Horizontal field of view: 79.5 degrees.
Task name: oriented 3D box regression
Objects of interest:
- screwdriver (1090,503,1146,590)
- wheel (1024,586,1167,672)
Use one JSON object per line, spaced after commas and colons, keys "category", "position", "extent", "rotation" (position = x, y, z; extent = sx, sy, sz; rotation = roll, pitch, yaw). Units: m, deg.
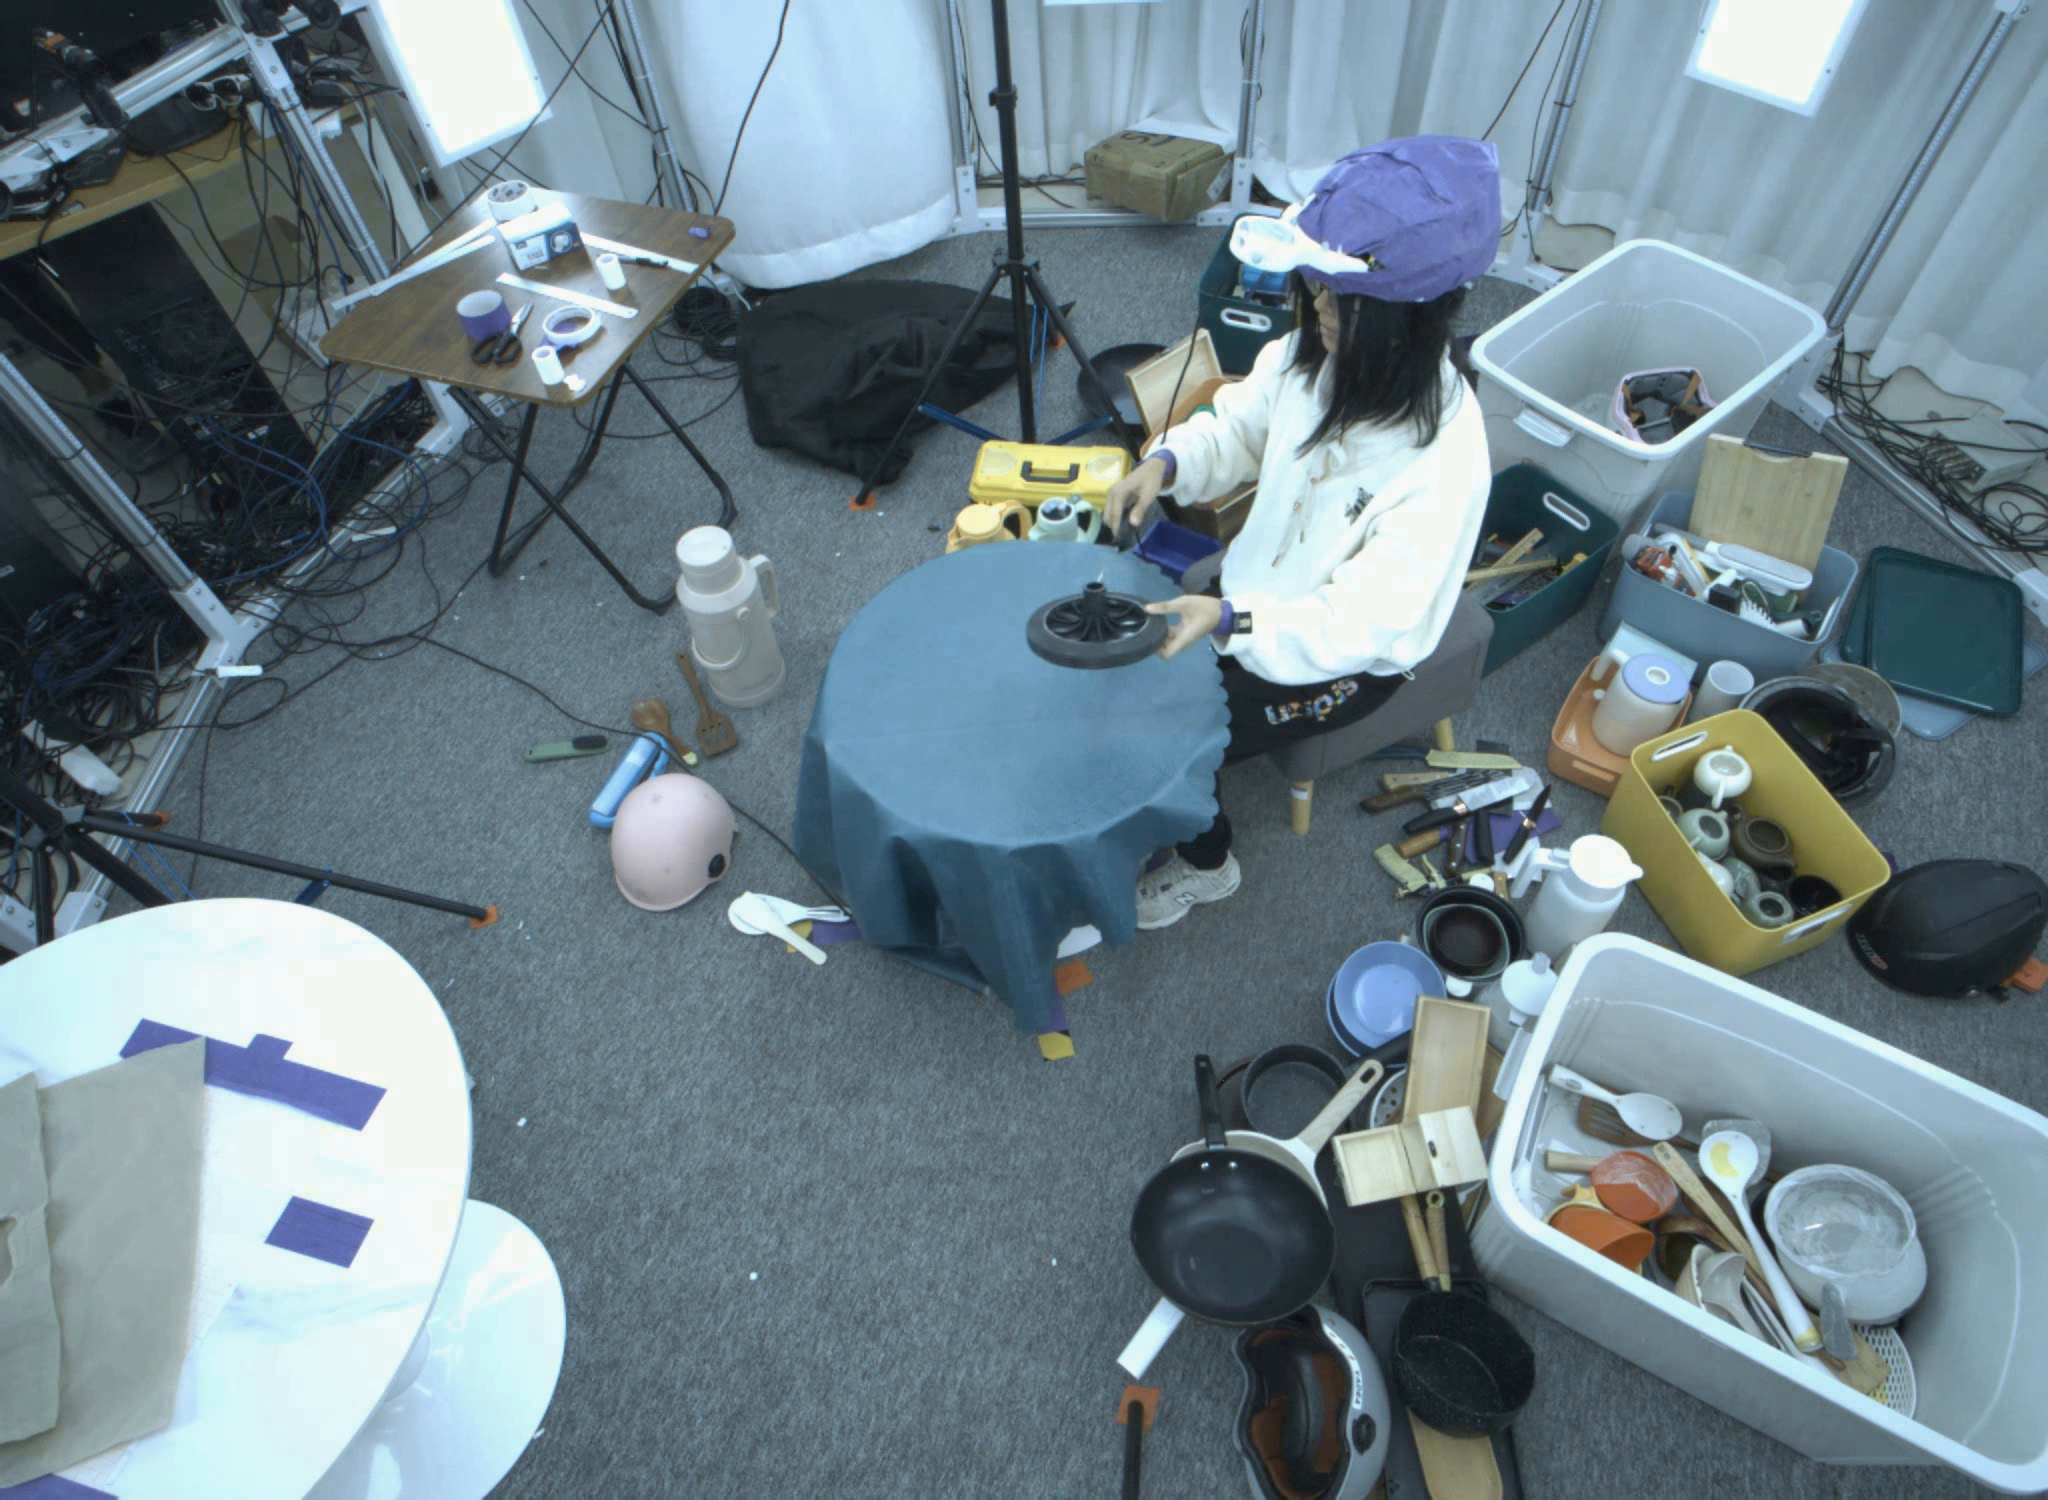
{"category": "screwdriver", "position": [0.132, -0.289, 1.742], "extent": [0.031, 0.032, 0.196], "rotation": [17, 50, 15]}
{"category": "wheel", "position": [0.092, -0.174, 1.618], "extent": [0.187, 0.080, 0.188], "rotation": [6, 35, 19]}
